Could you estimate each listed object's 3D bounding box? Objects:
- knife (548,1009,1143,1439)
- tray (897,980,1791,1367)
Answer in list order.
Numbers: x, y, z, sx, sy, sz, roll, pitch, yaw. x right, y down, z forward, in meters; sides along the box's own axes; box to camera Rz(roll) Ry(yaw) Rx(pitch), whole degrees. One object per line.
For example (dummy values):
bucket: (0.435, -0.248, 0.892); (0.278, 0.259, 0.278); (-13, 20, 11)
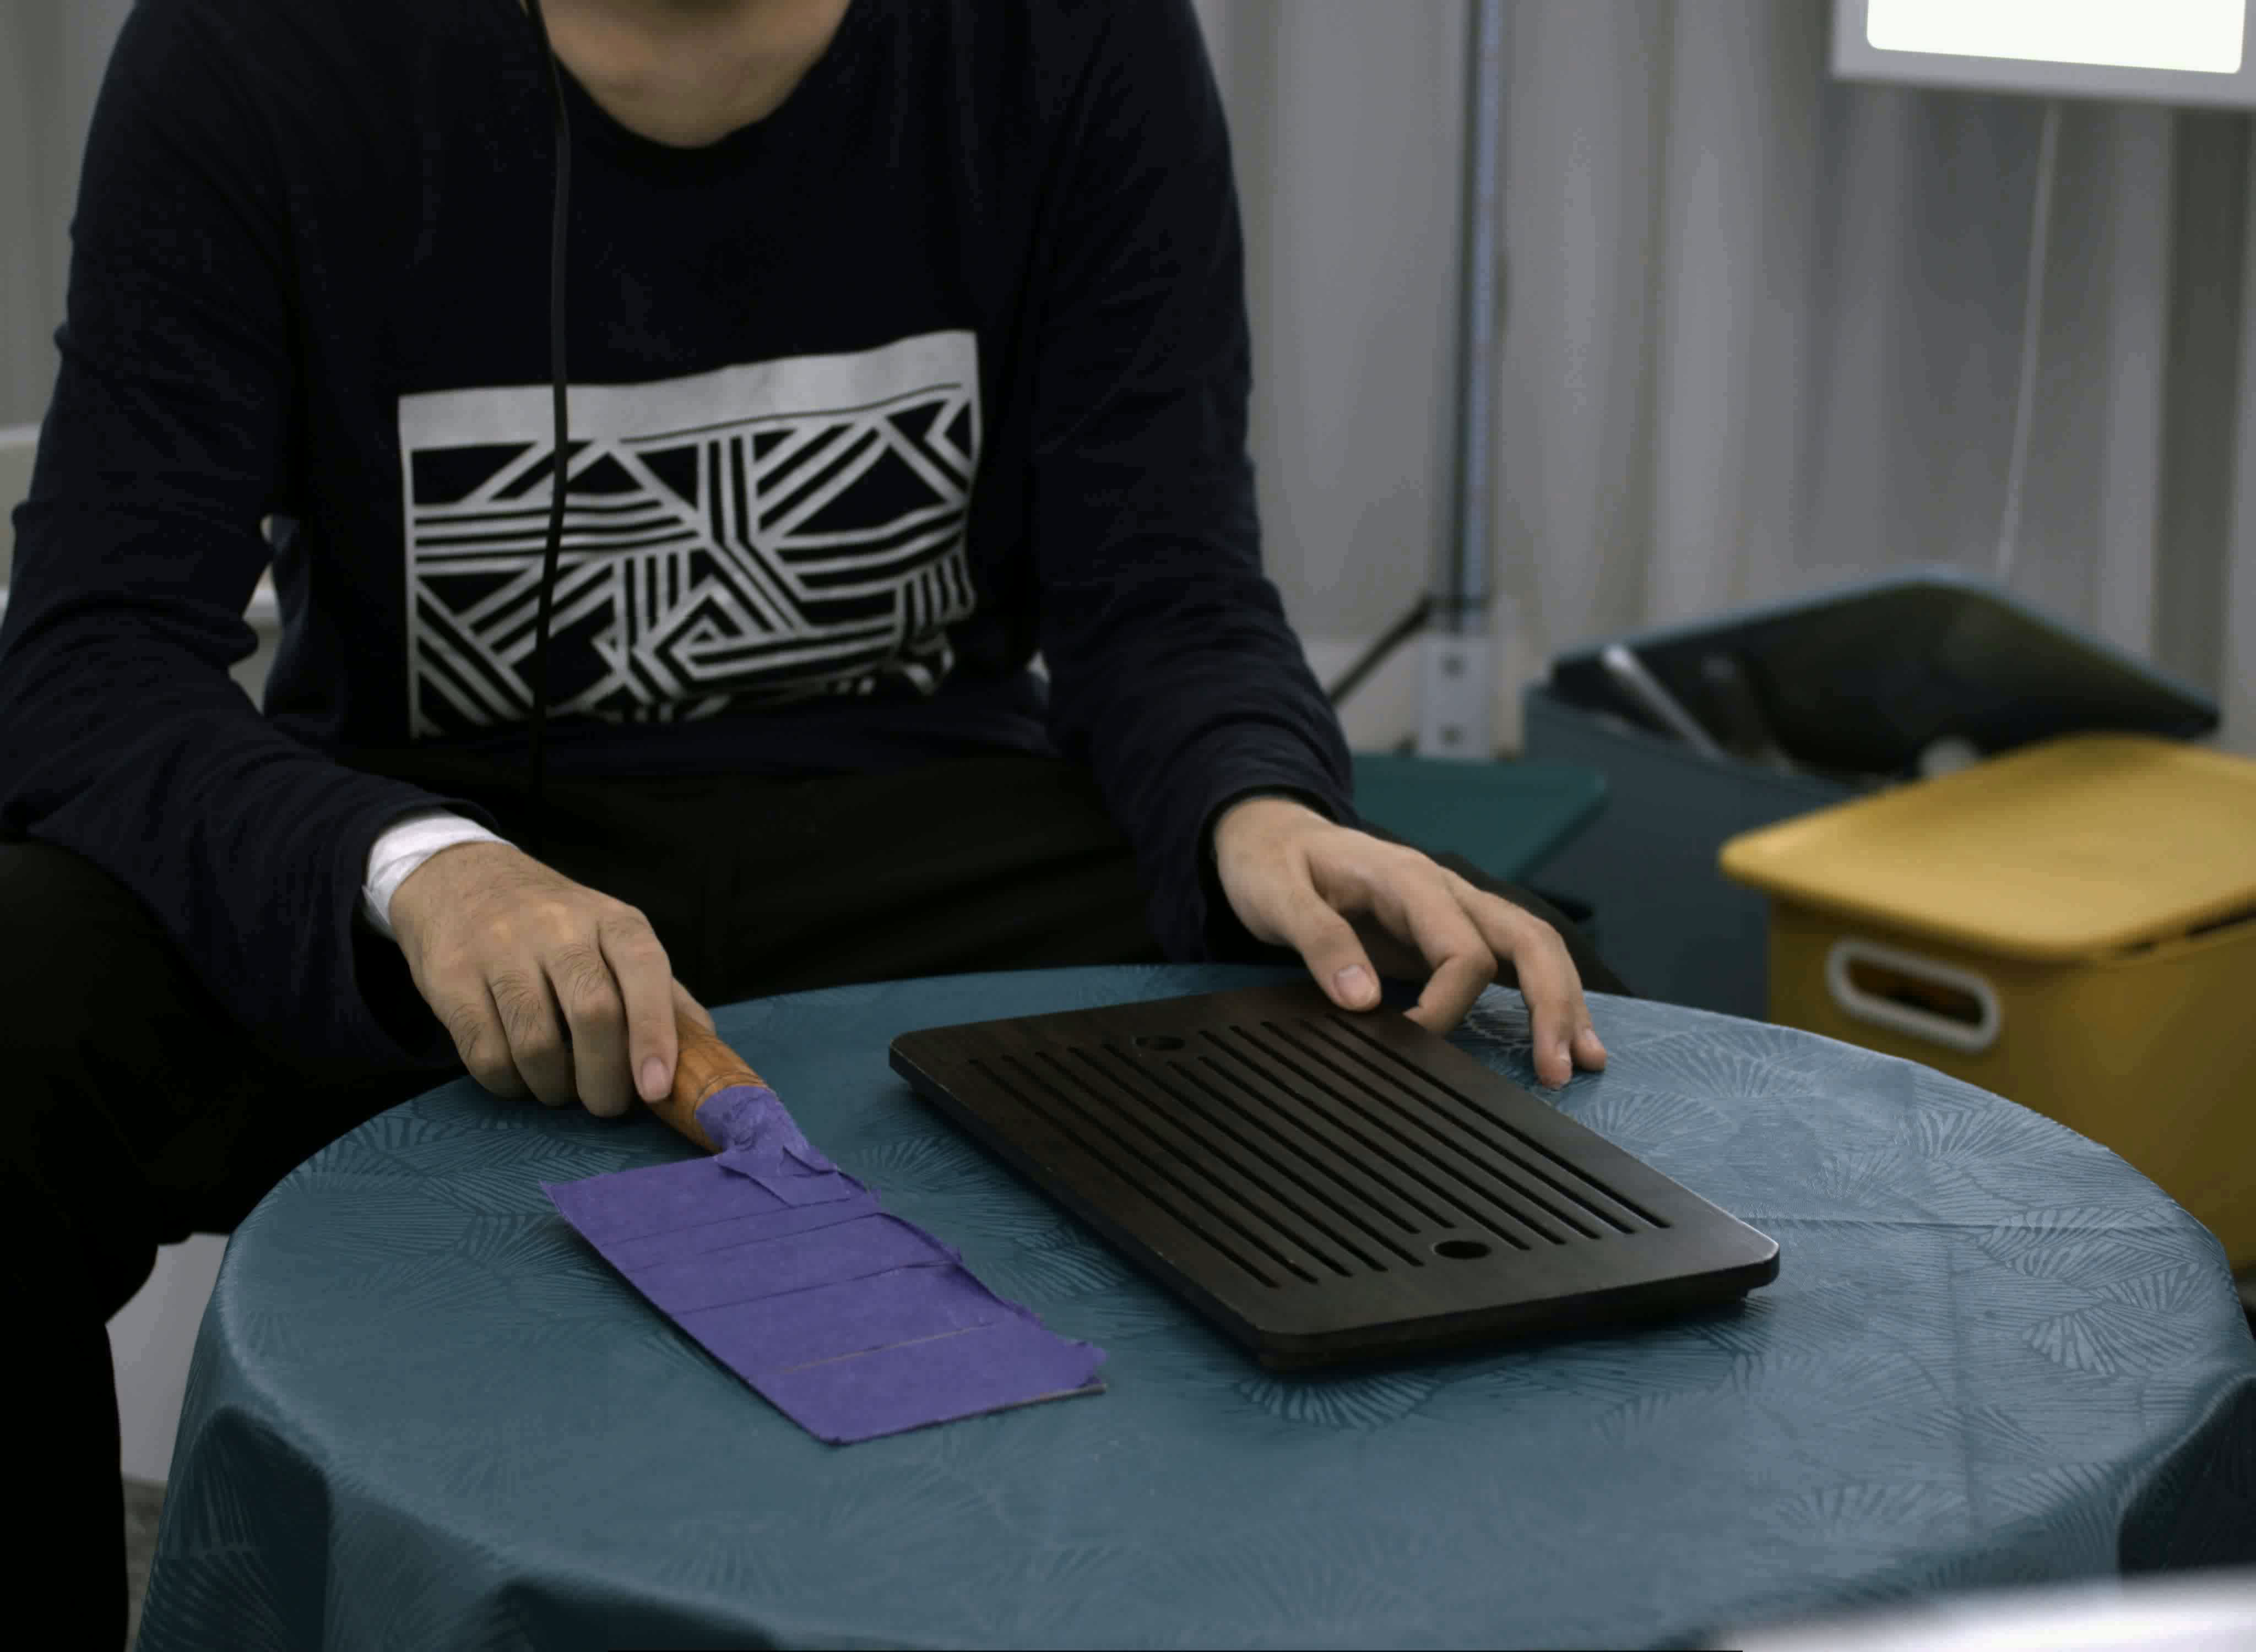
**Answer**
knife: (-0.114, 0.114, 1.565); (0.104, 0.032, 0.311); (-8, 18, -28)
tray: (0.059, 0.103, 1.626); (0.171, 0.019, 0.302); (-6, 16, -23)
